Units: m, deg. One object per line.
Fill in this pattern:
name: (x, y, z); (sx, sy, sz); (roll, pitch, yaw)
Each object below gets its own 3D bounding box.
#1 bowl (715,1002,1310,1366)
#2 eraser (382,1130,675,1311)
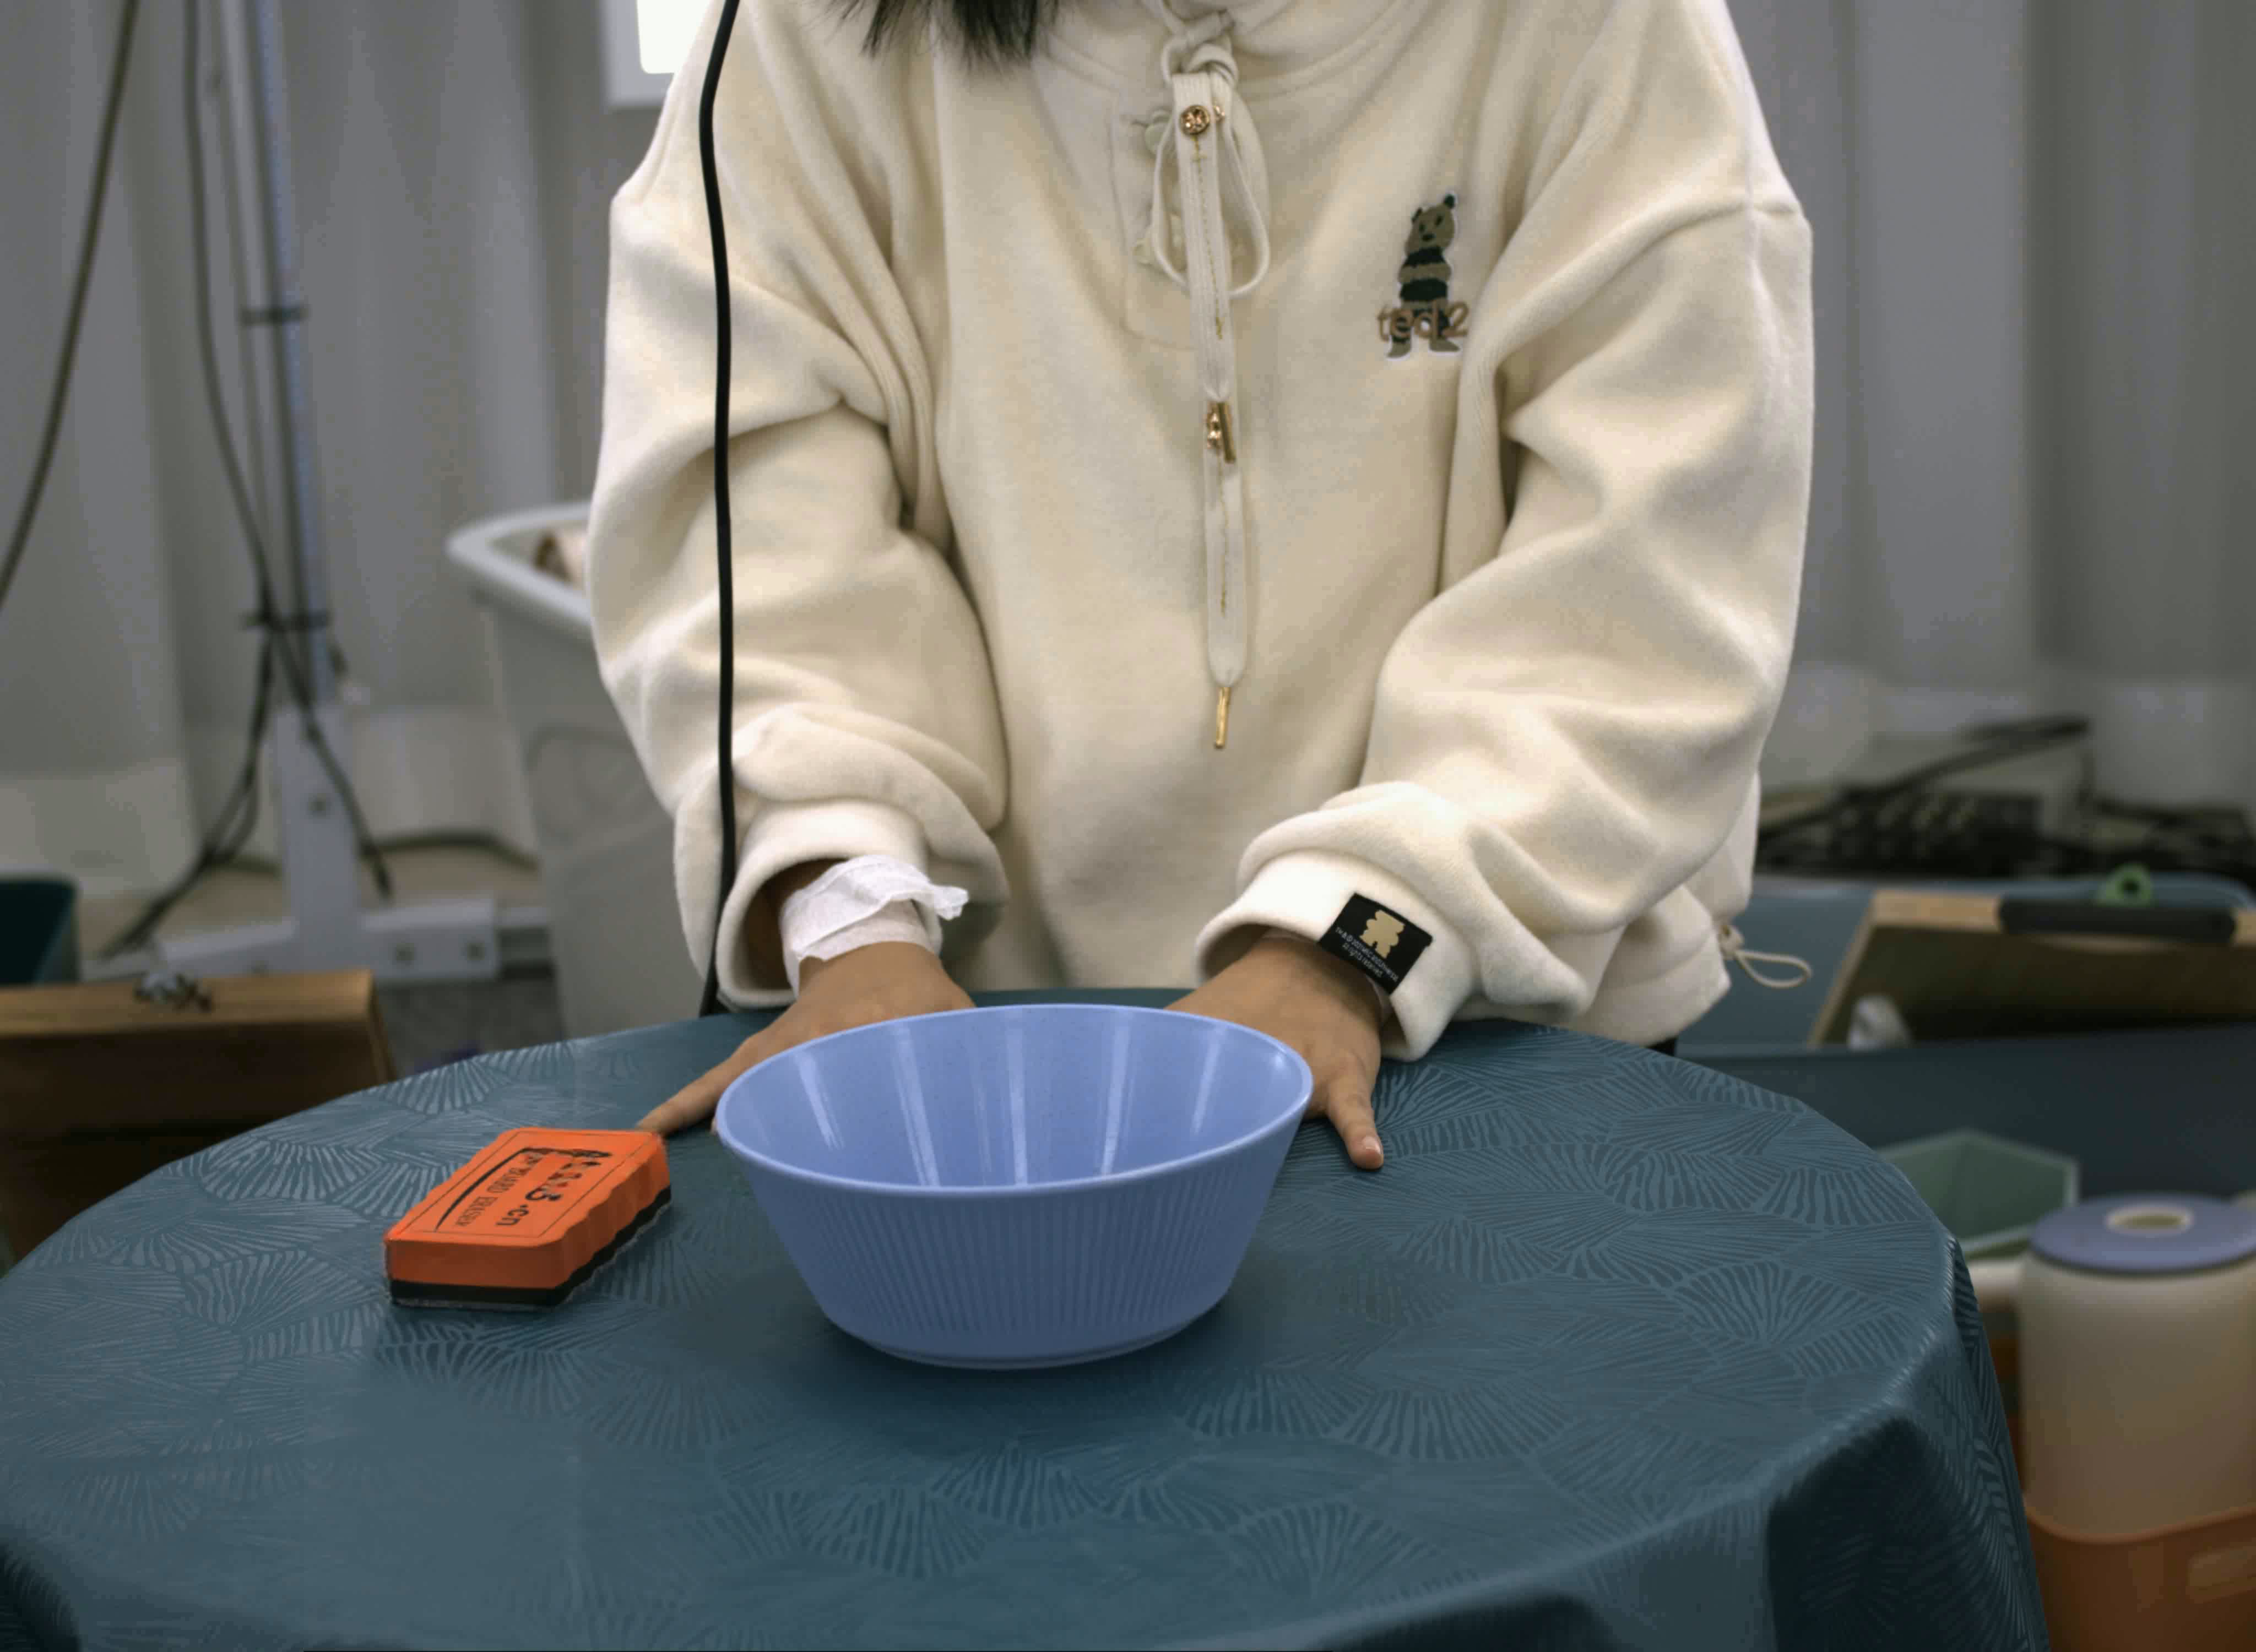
bowl: (-0.032, 0.108, 1.609); (0.175, 0.070, 0.177); (-3, 15, 0)
eraser: (-0.183, 0.121, 1.683); (0.059, 0.023, 0.108); (-1, 15, 18)
